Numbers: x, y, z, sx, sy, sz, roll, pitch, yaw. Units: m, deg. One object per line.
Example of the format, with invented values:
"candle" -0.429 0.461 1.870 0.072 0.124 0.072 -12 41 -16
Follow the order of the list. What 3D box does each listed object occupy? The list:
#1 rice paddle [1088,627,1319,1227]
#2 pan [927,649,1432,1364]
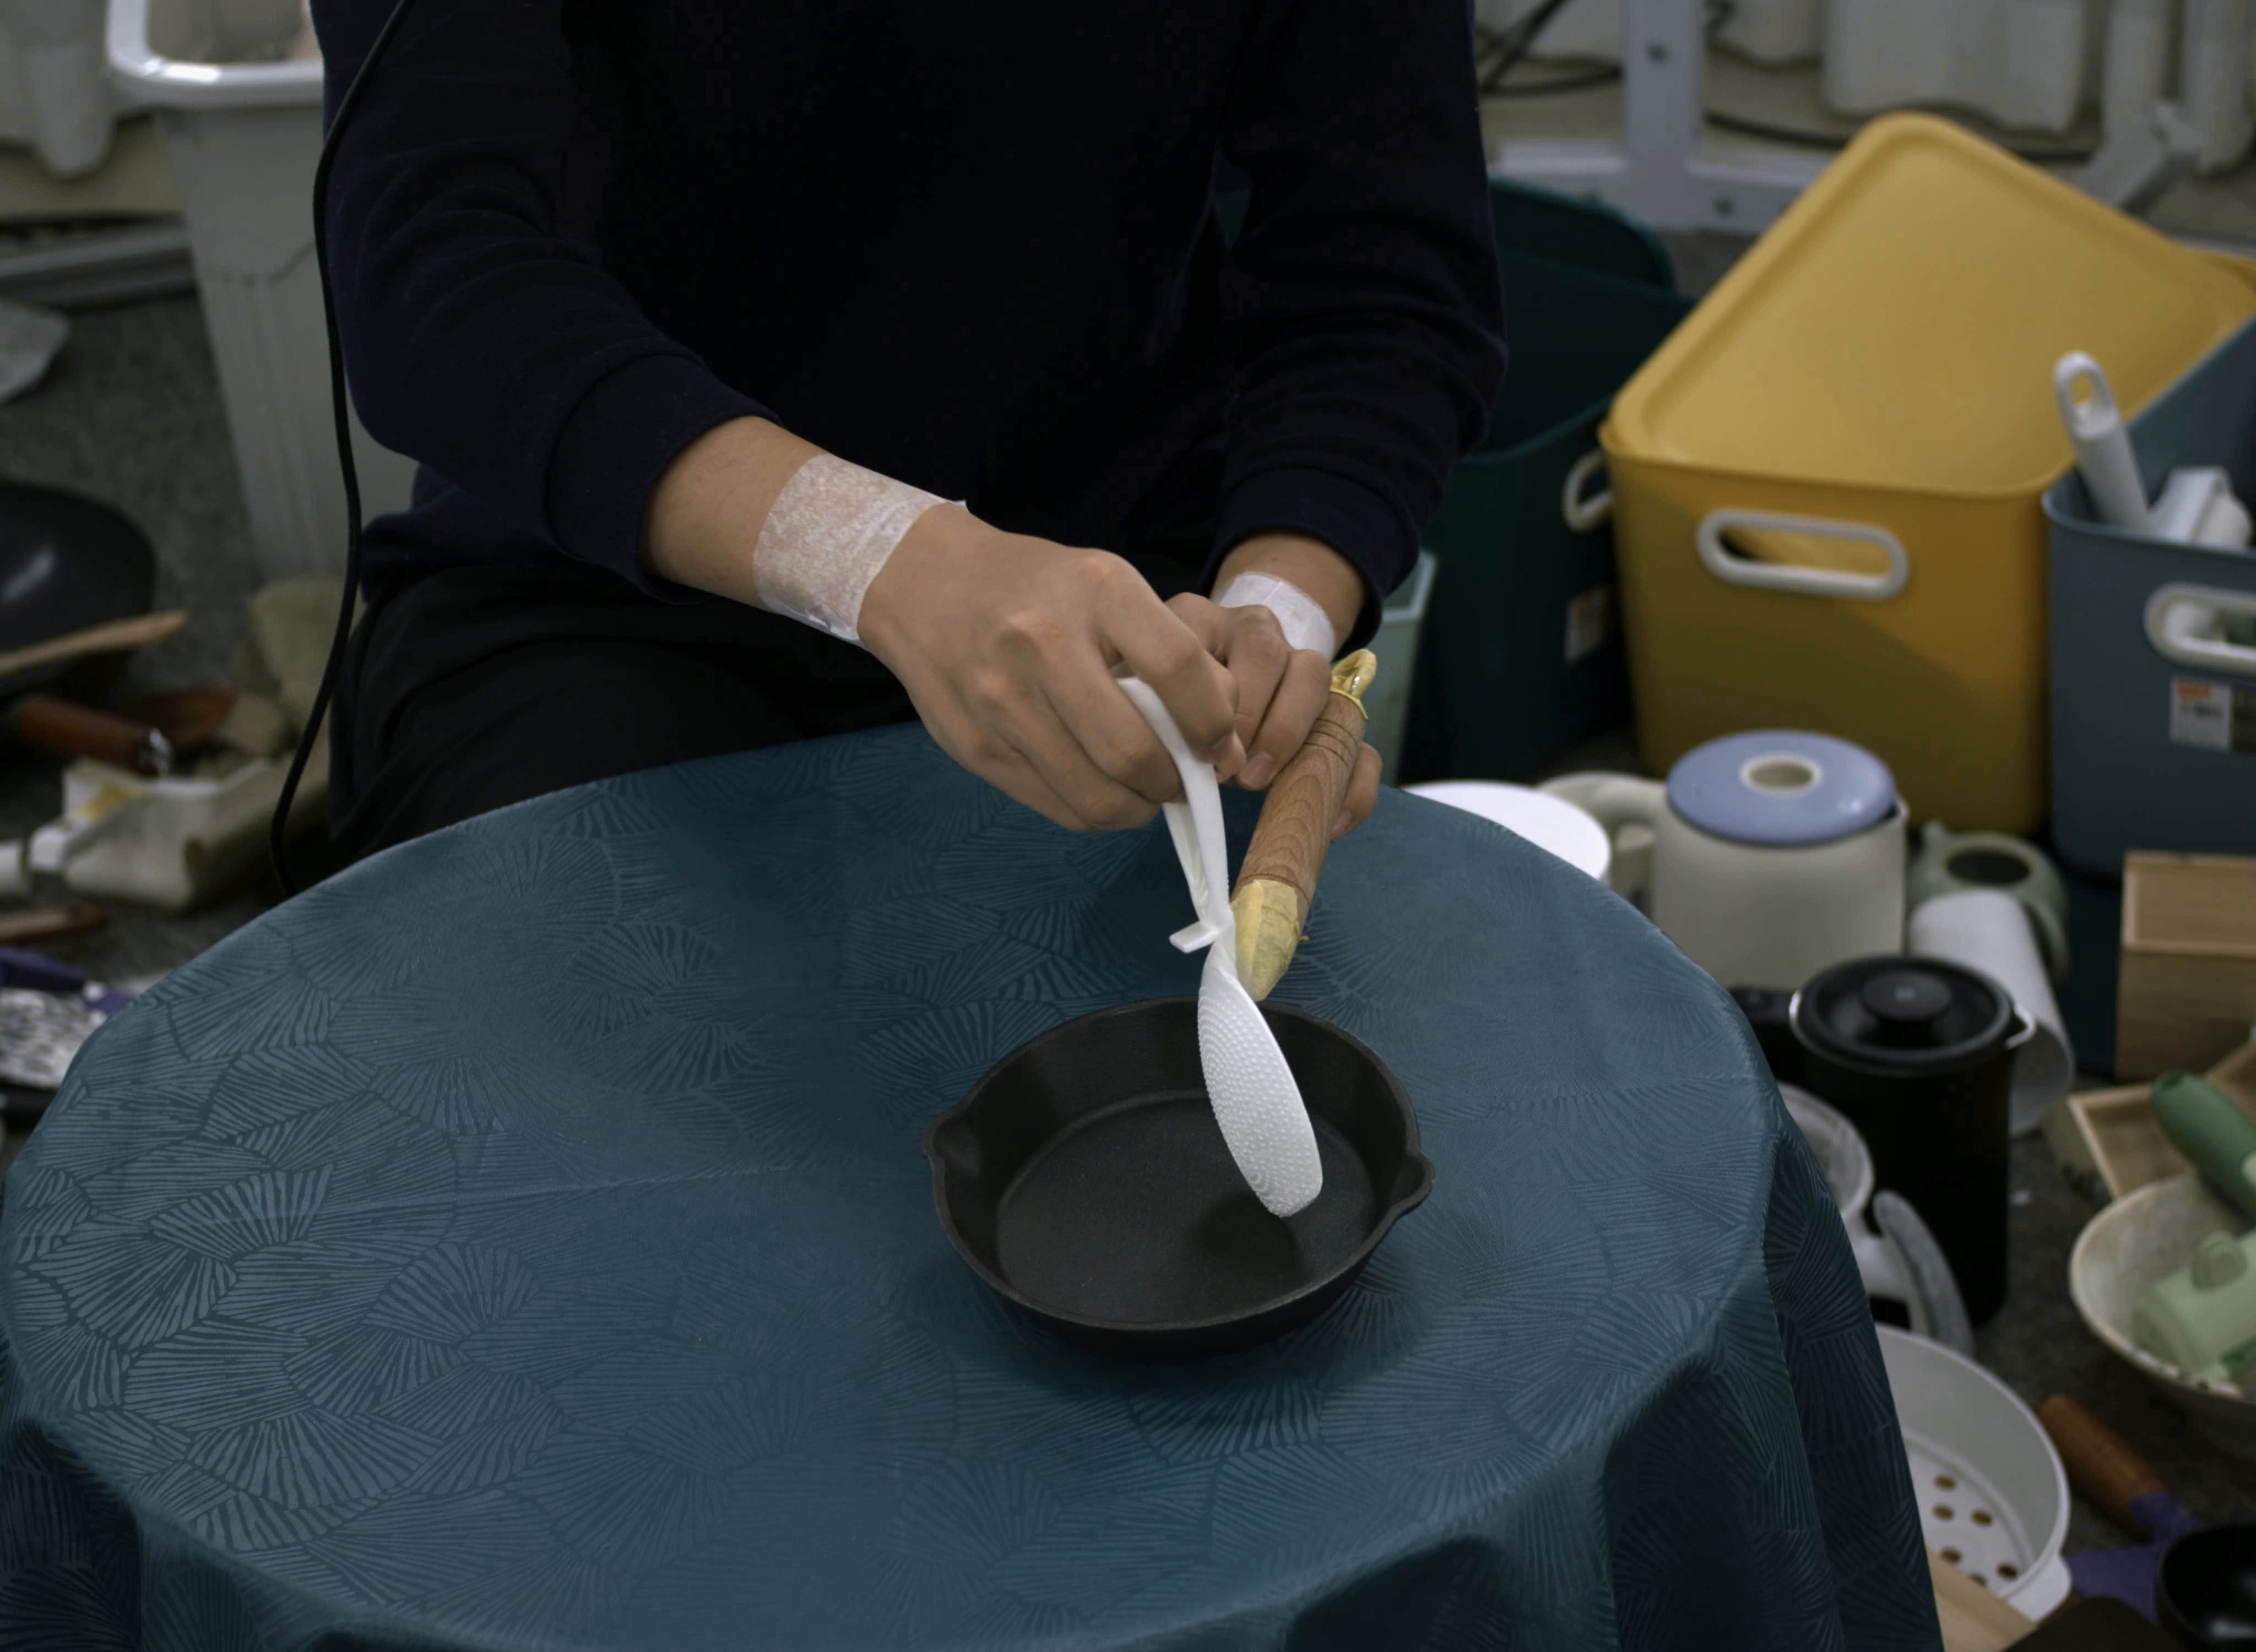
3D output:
"rice paddle" 0.028 0.035 1.774 0.029 0.204 0.069 -23 22 -18
"pan" 0.040 0.058 1.866 0.168 0.049 0.331 6 41 17
